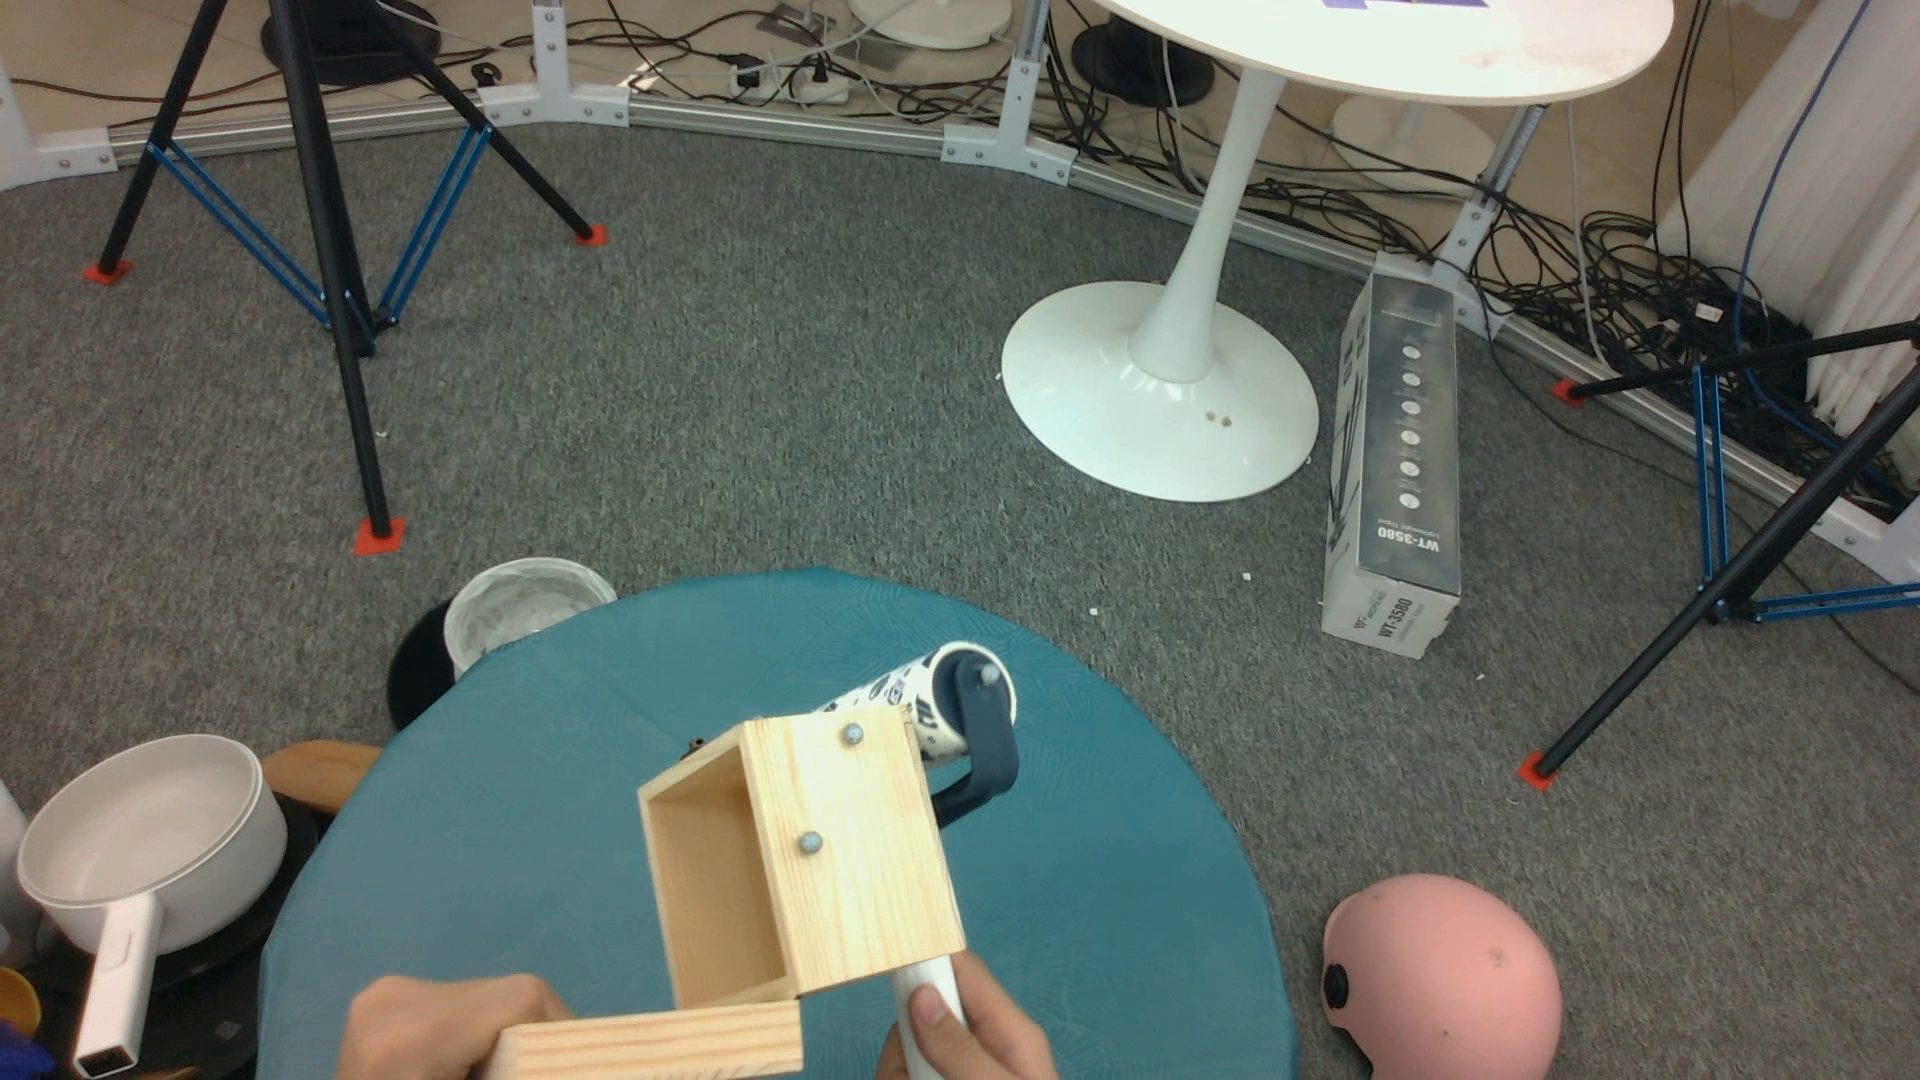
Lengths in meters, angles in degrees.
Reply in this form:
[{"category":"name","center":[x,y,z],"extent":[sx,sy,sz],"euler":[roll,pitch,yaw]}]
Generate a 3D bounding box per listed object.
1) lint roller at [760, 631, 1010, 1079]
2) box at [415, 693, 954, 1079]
[{"category":"lint roller","center":[-0.023,0.180,0.610],"extent":[0.050,0.175,0.247],"euler":[-3,73,-41]},{"category":"box","center":[-0.111,0.138,0.532],"extent":[0.185,0.102,0.134],"euler":[-2,68,-39]}]
